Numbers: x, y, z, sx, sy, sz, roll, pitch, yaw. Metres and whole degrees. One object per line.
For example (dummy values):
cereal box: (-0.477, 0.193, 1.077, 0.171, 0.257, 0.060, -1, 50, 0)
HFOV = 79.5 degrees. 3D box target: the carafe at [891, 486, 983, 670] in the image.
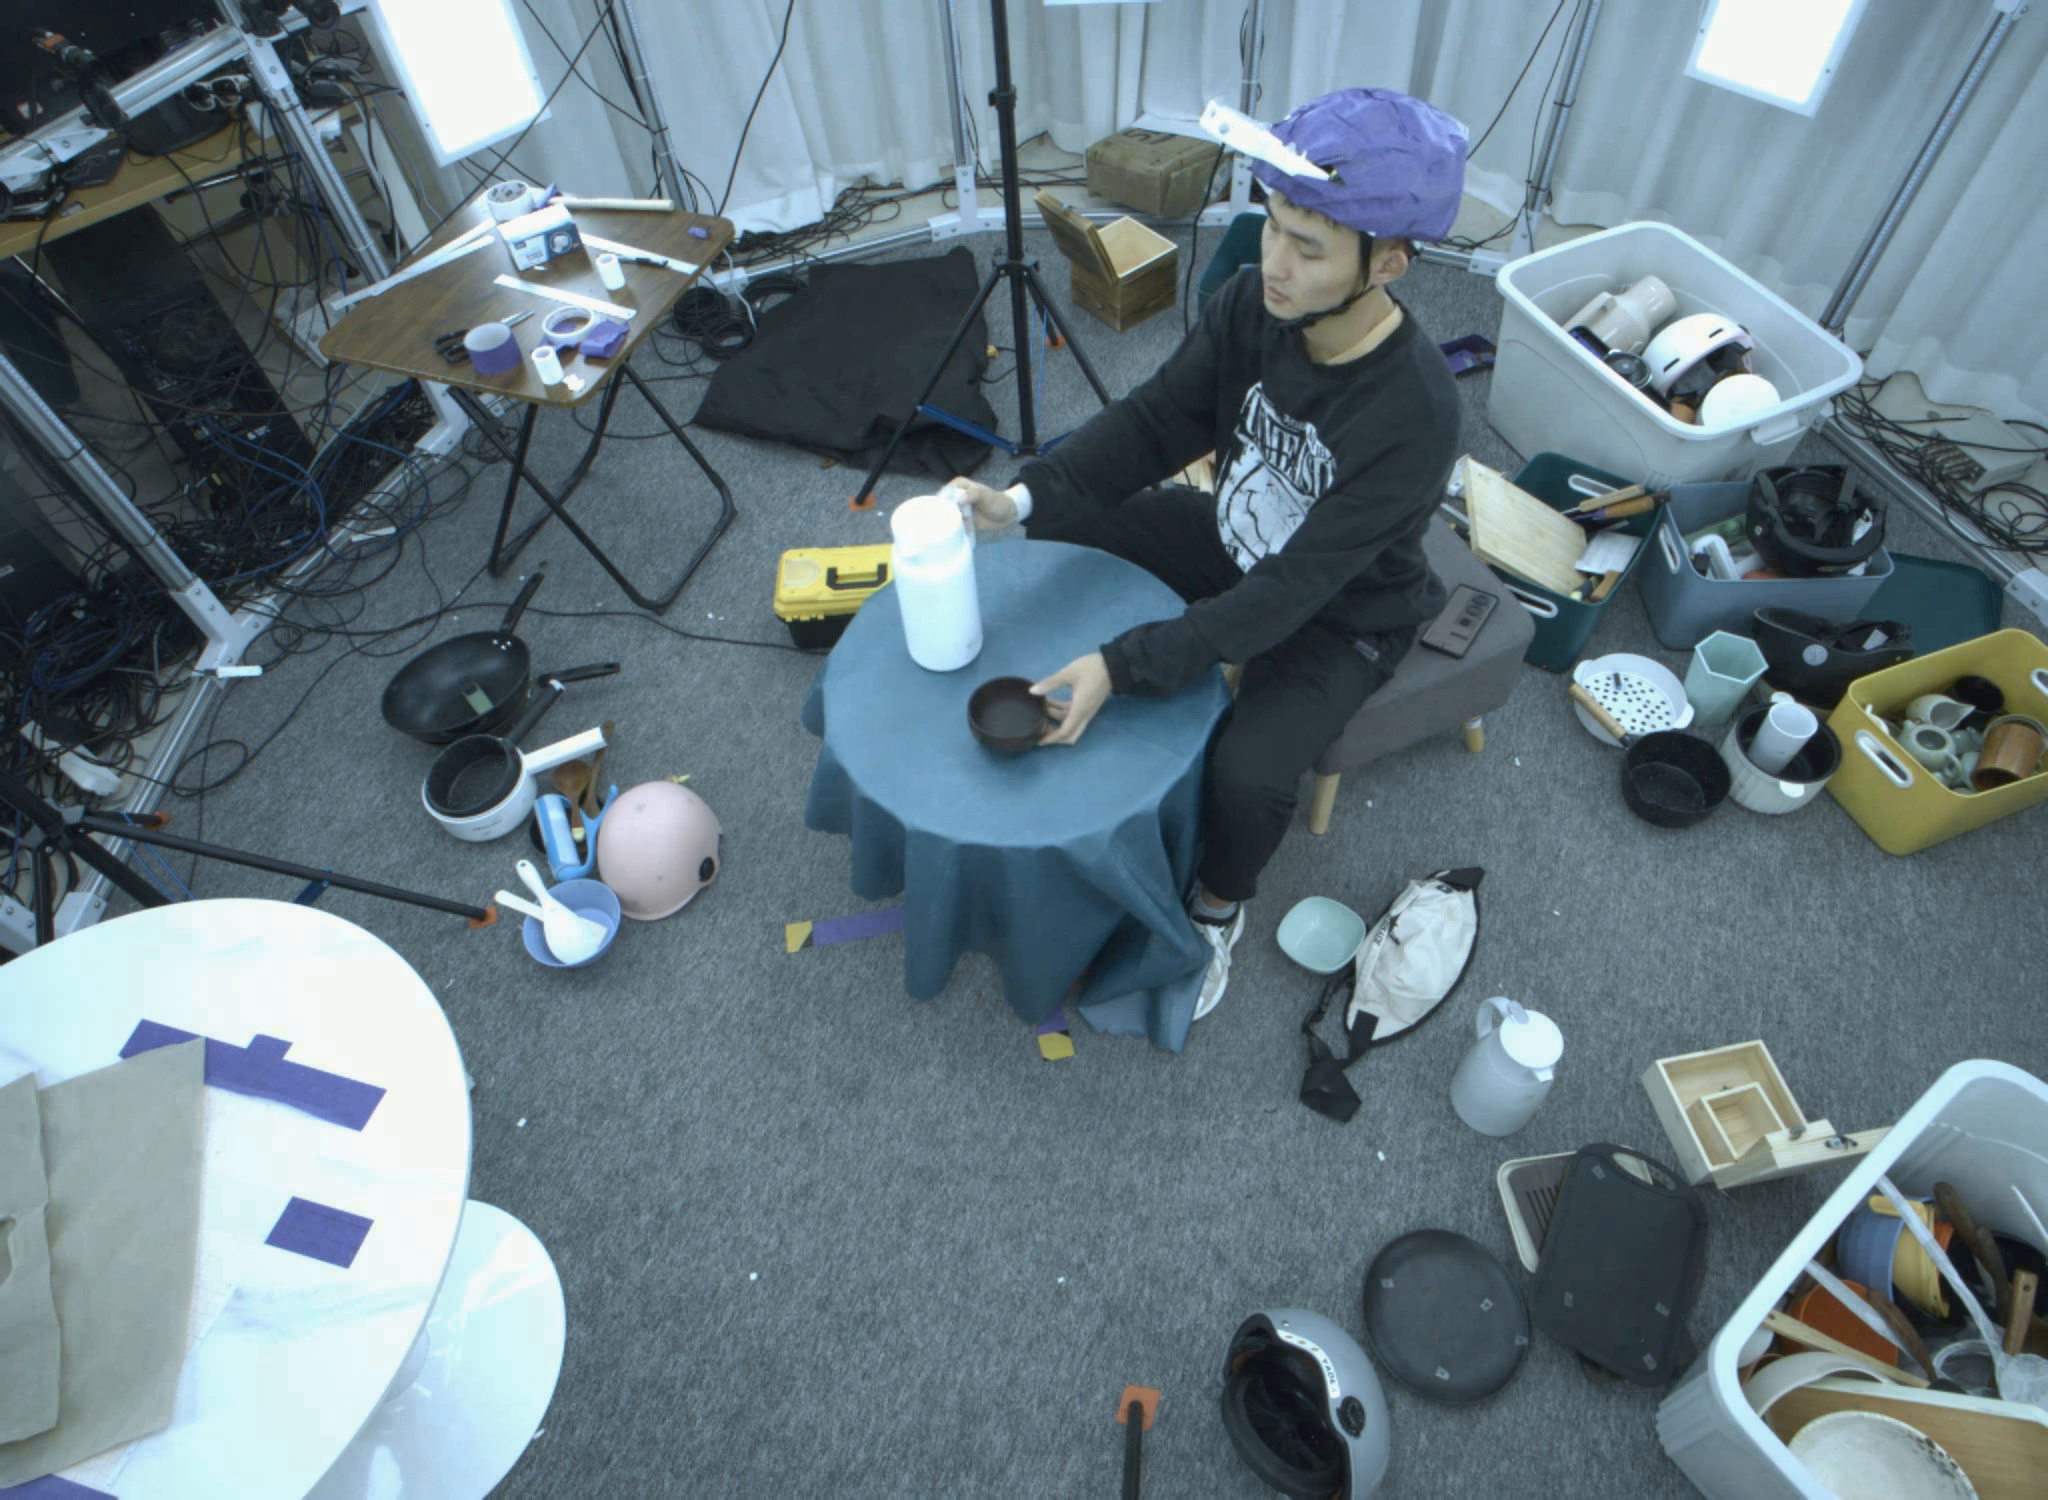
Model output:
carafe: (-0.124, -0.255, 1.805, 0.122, 0.272, 0.173, 16, 57, 17)

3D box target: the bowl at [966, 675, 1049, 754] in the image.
bowl: (-0.022, -0.044, 1.769, 0.118, 0.070, 0.117, -1, 54, 2)
